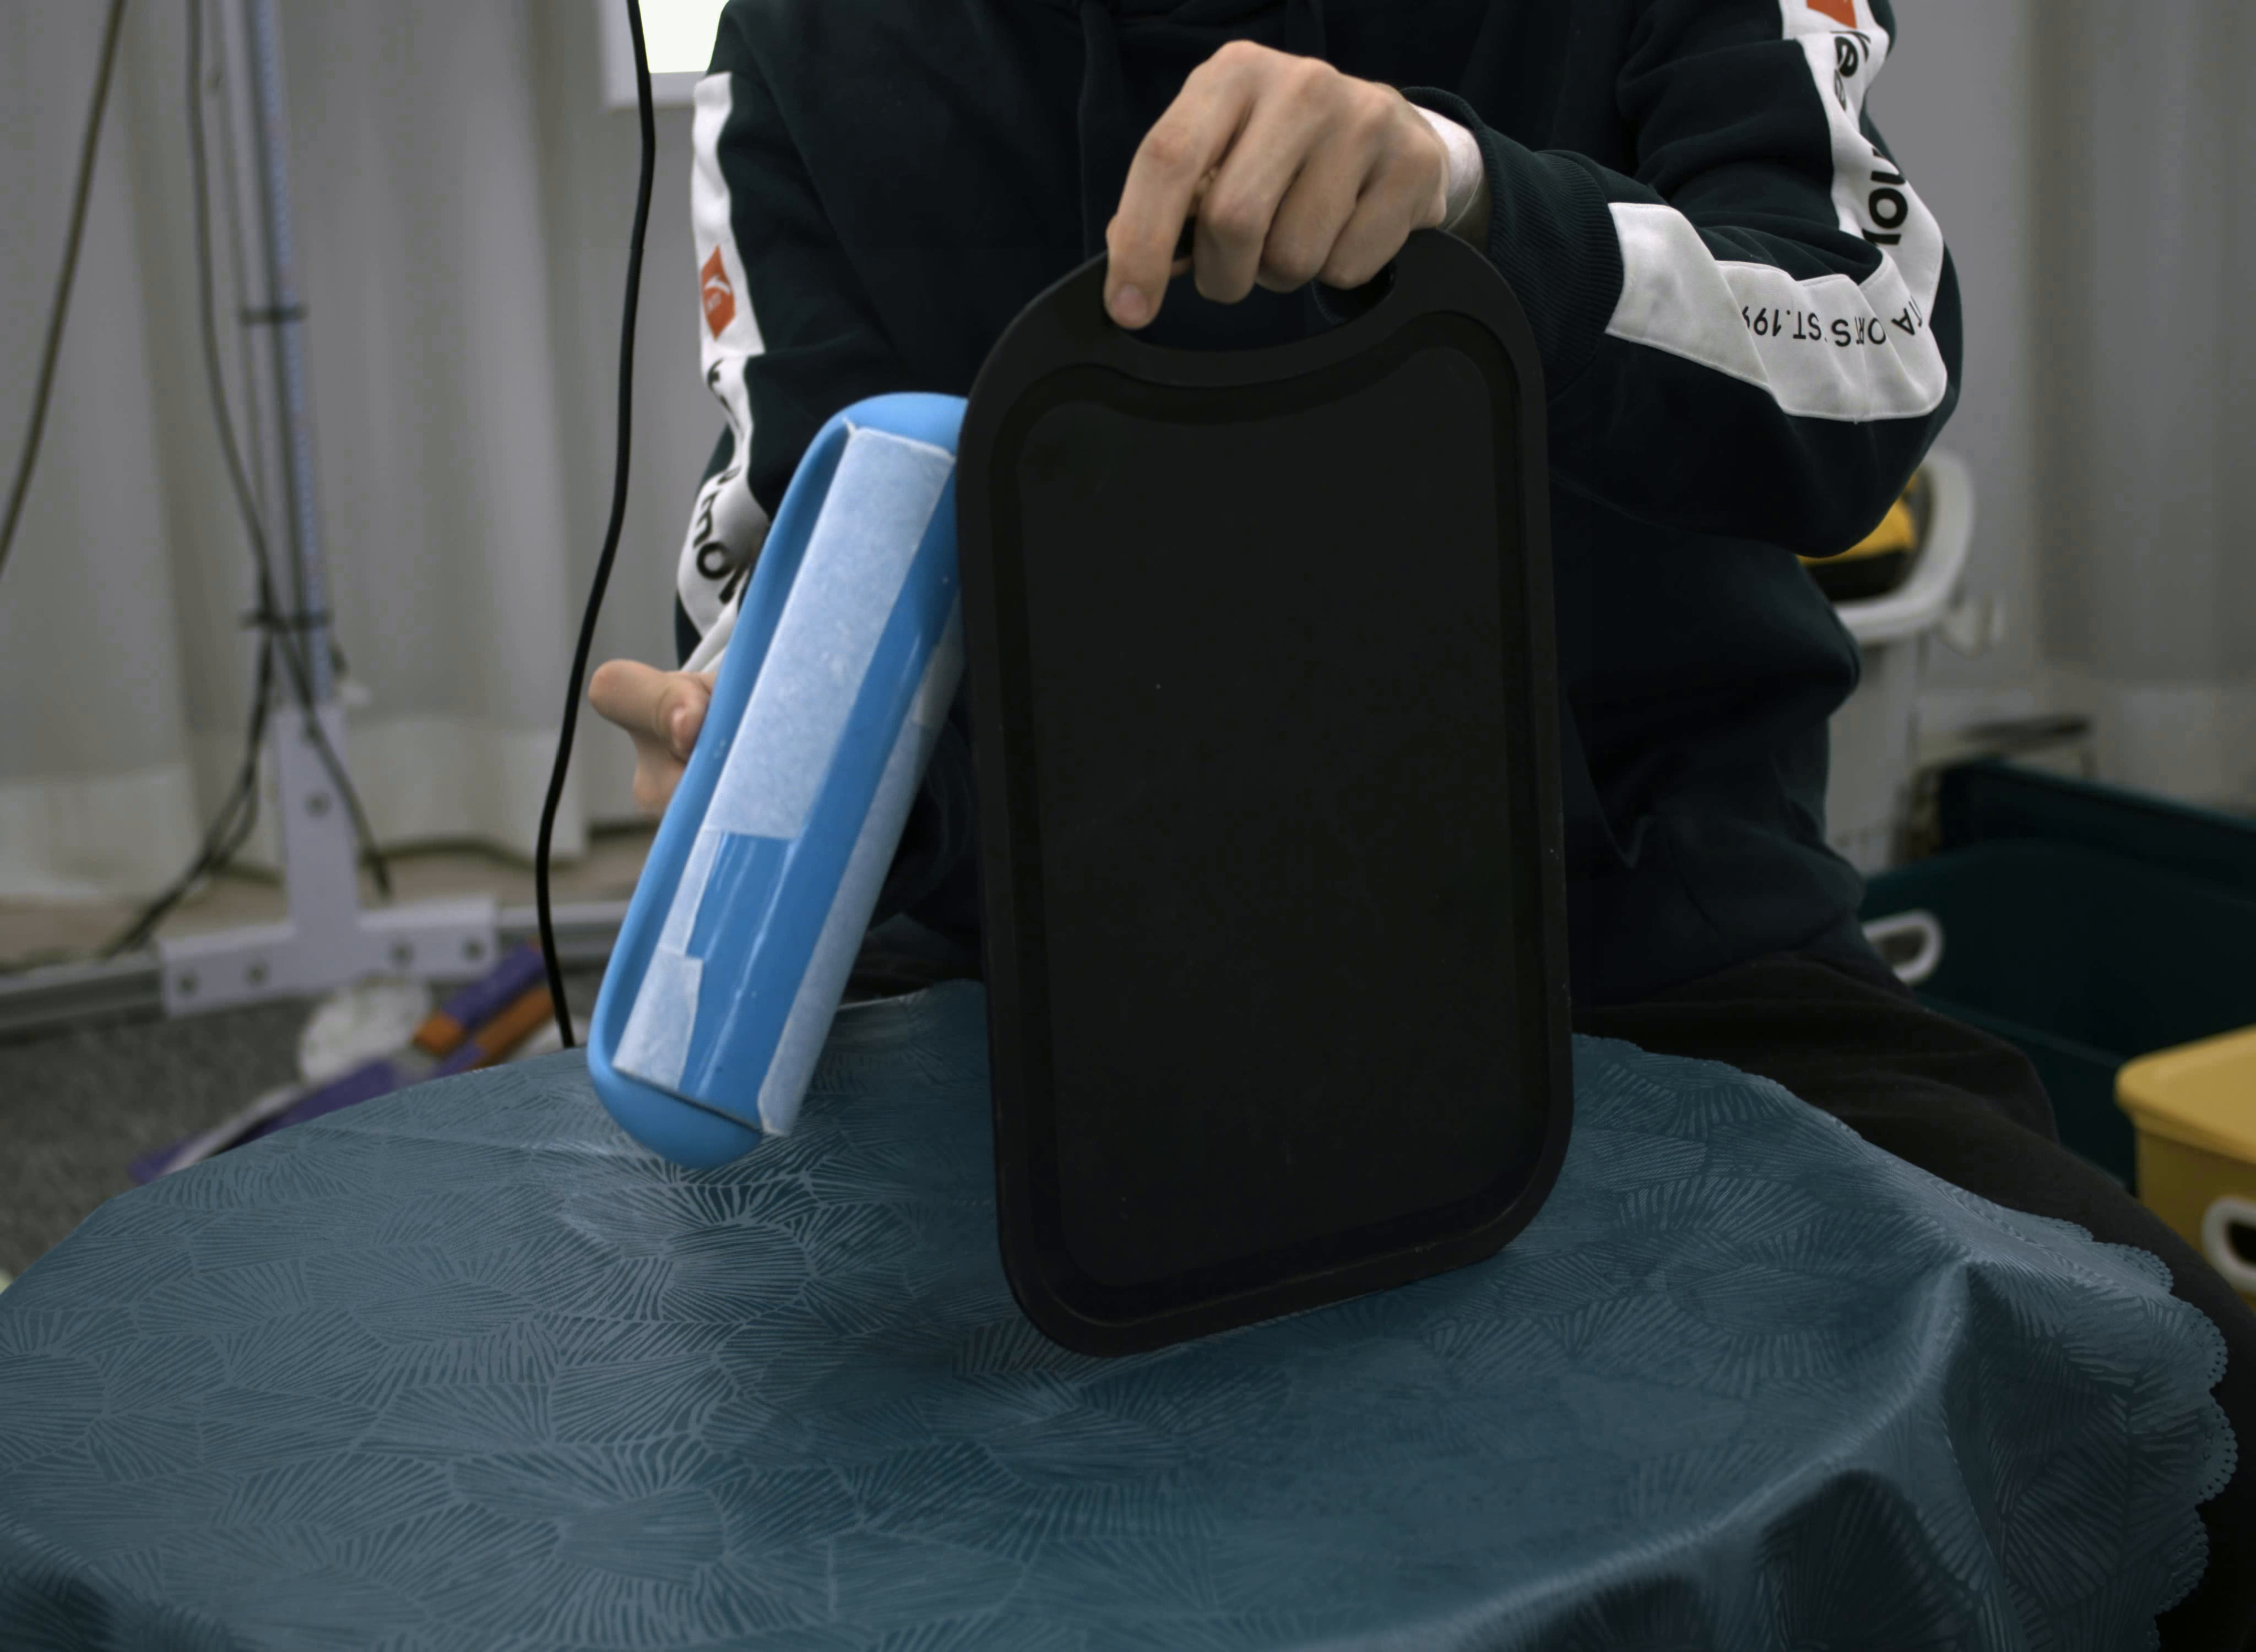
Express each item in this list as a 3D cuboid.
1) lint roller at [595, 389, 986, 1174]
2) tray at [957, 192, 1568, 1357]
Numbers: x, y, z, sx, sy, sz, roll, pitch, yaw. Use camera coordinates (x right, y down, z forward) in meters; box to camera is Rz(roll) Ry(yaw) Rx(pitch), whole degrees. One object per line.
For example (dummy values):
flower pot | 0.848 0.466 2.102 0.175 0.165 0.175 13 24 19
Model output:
lint roller | -0.096 -0.011 1.586 0.067 0.230 0.180 19 -6 -9
tray | 0.043 -0.017 1.564 0.210 0.325 0.010 -10 12 -35
